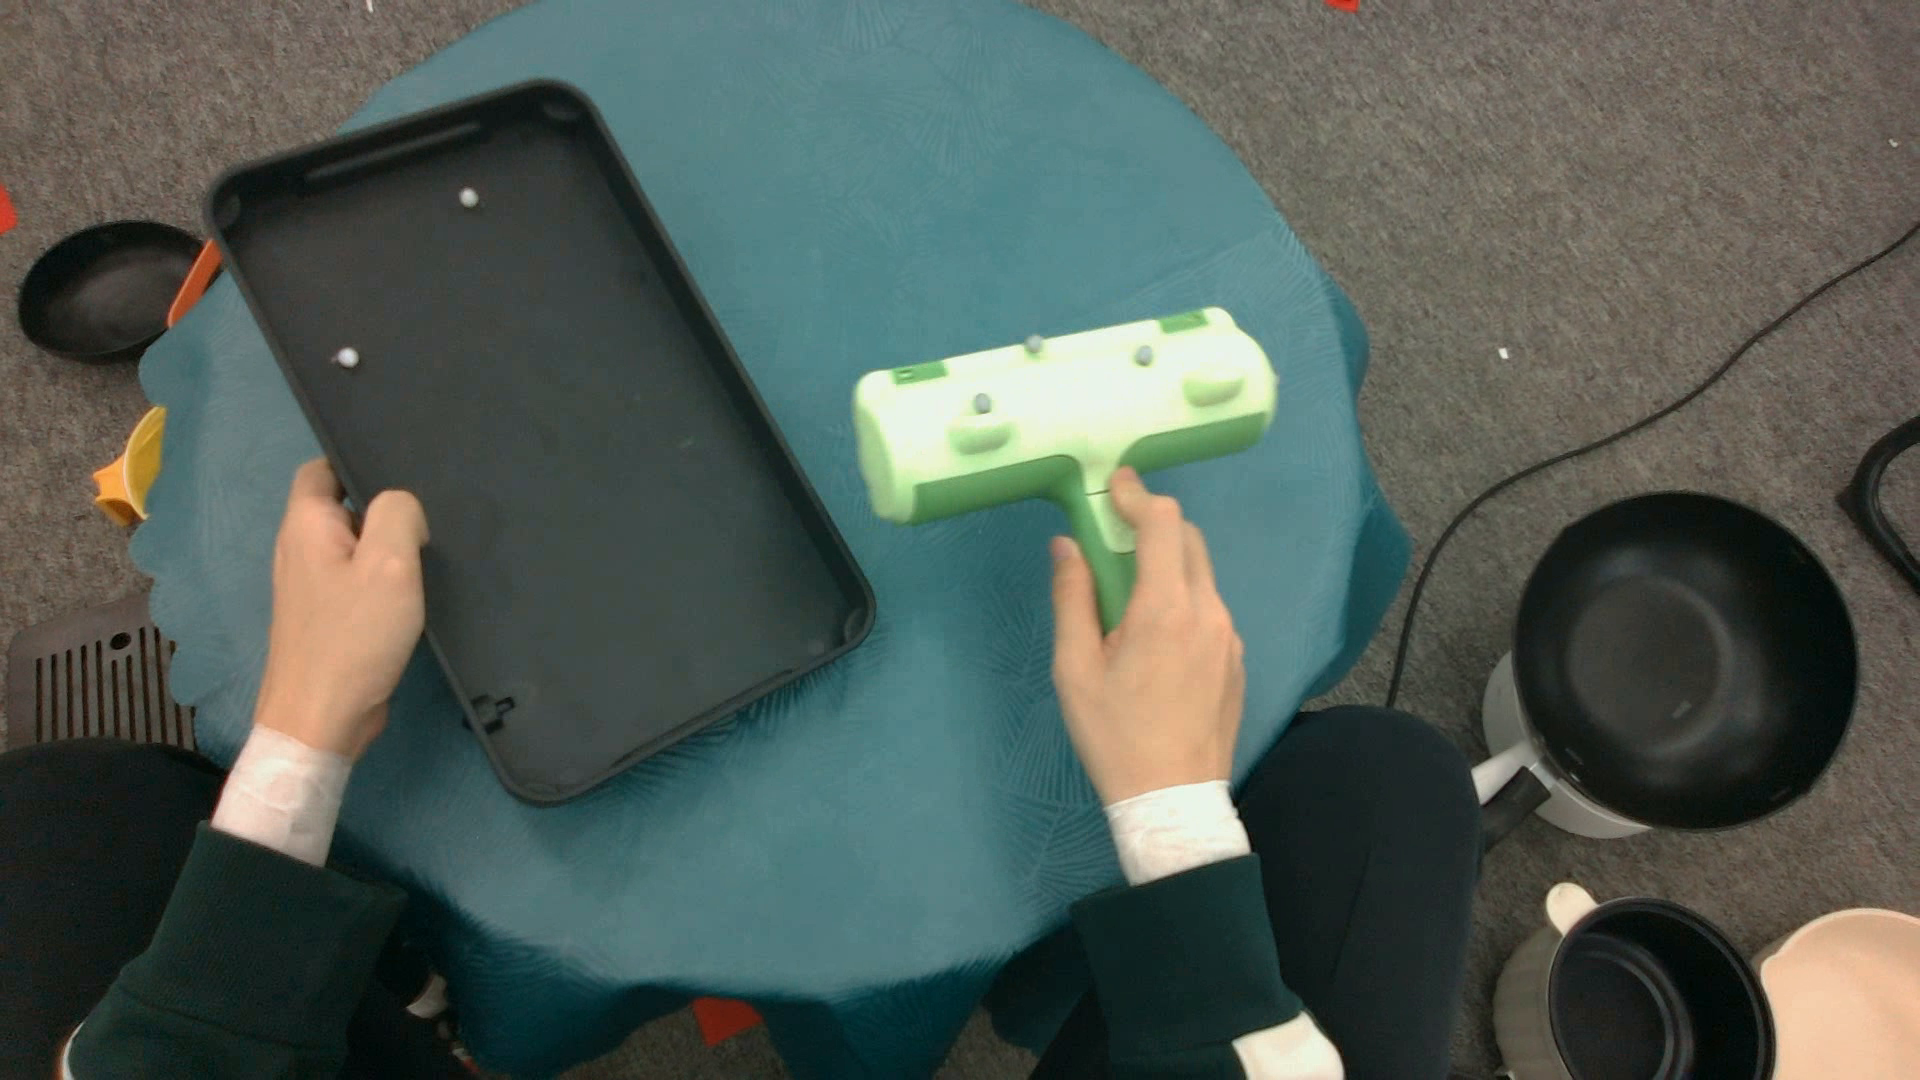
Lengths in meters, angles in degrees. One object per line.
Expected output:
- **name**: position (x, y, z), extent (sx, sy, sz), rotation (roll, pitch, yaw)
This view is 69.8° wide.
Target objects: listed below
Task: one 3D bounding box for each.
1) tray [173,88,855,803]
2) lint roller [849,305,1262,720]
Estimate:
- **tray**: position (-0.201, -0.053, 0.636), extent (0.185, 0.037, 0.318), rotation (-29, 82, -27)
- **lint roller**: position (0.067, -0.015, 0.614), extent (0.199, 0.082, 0.183), rotation (-12, 70, -22)
